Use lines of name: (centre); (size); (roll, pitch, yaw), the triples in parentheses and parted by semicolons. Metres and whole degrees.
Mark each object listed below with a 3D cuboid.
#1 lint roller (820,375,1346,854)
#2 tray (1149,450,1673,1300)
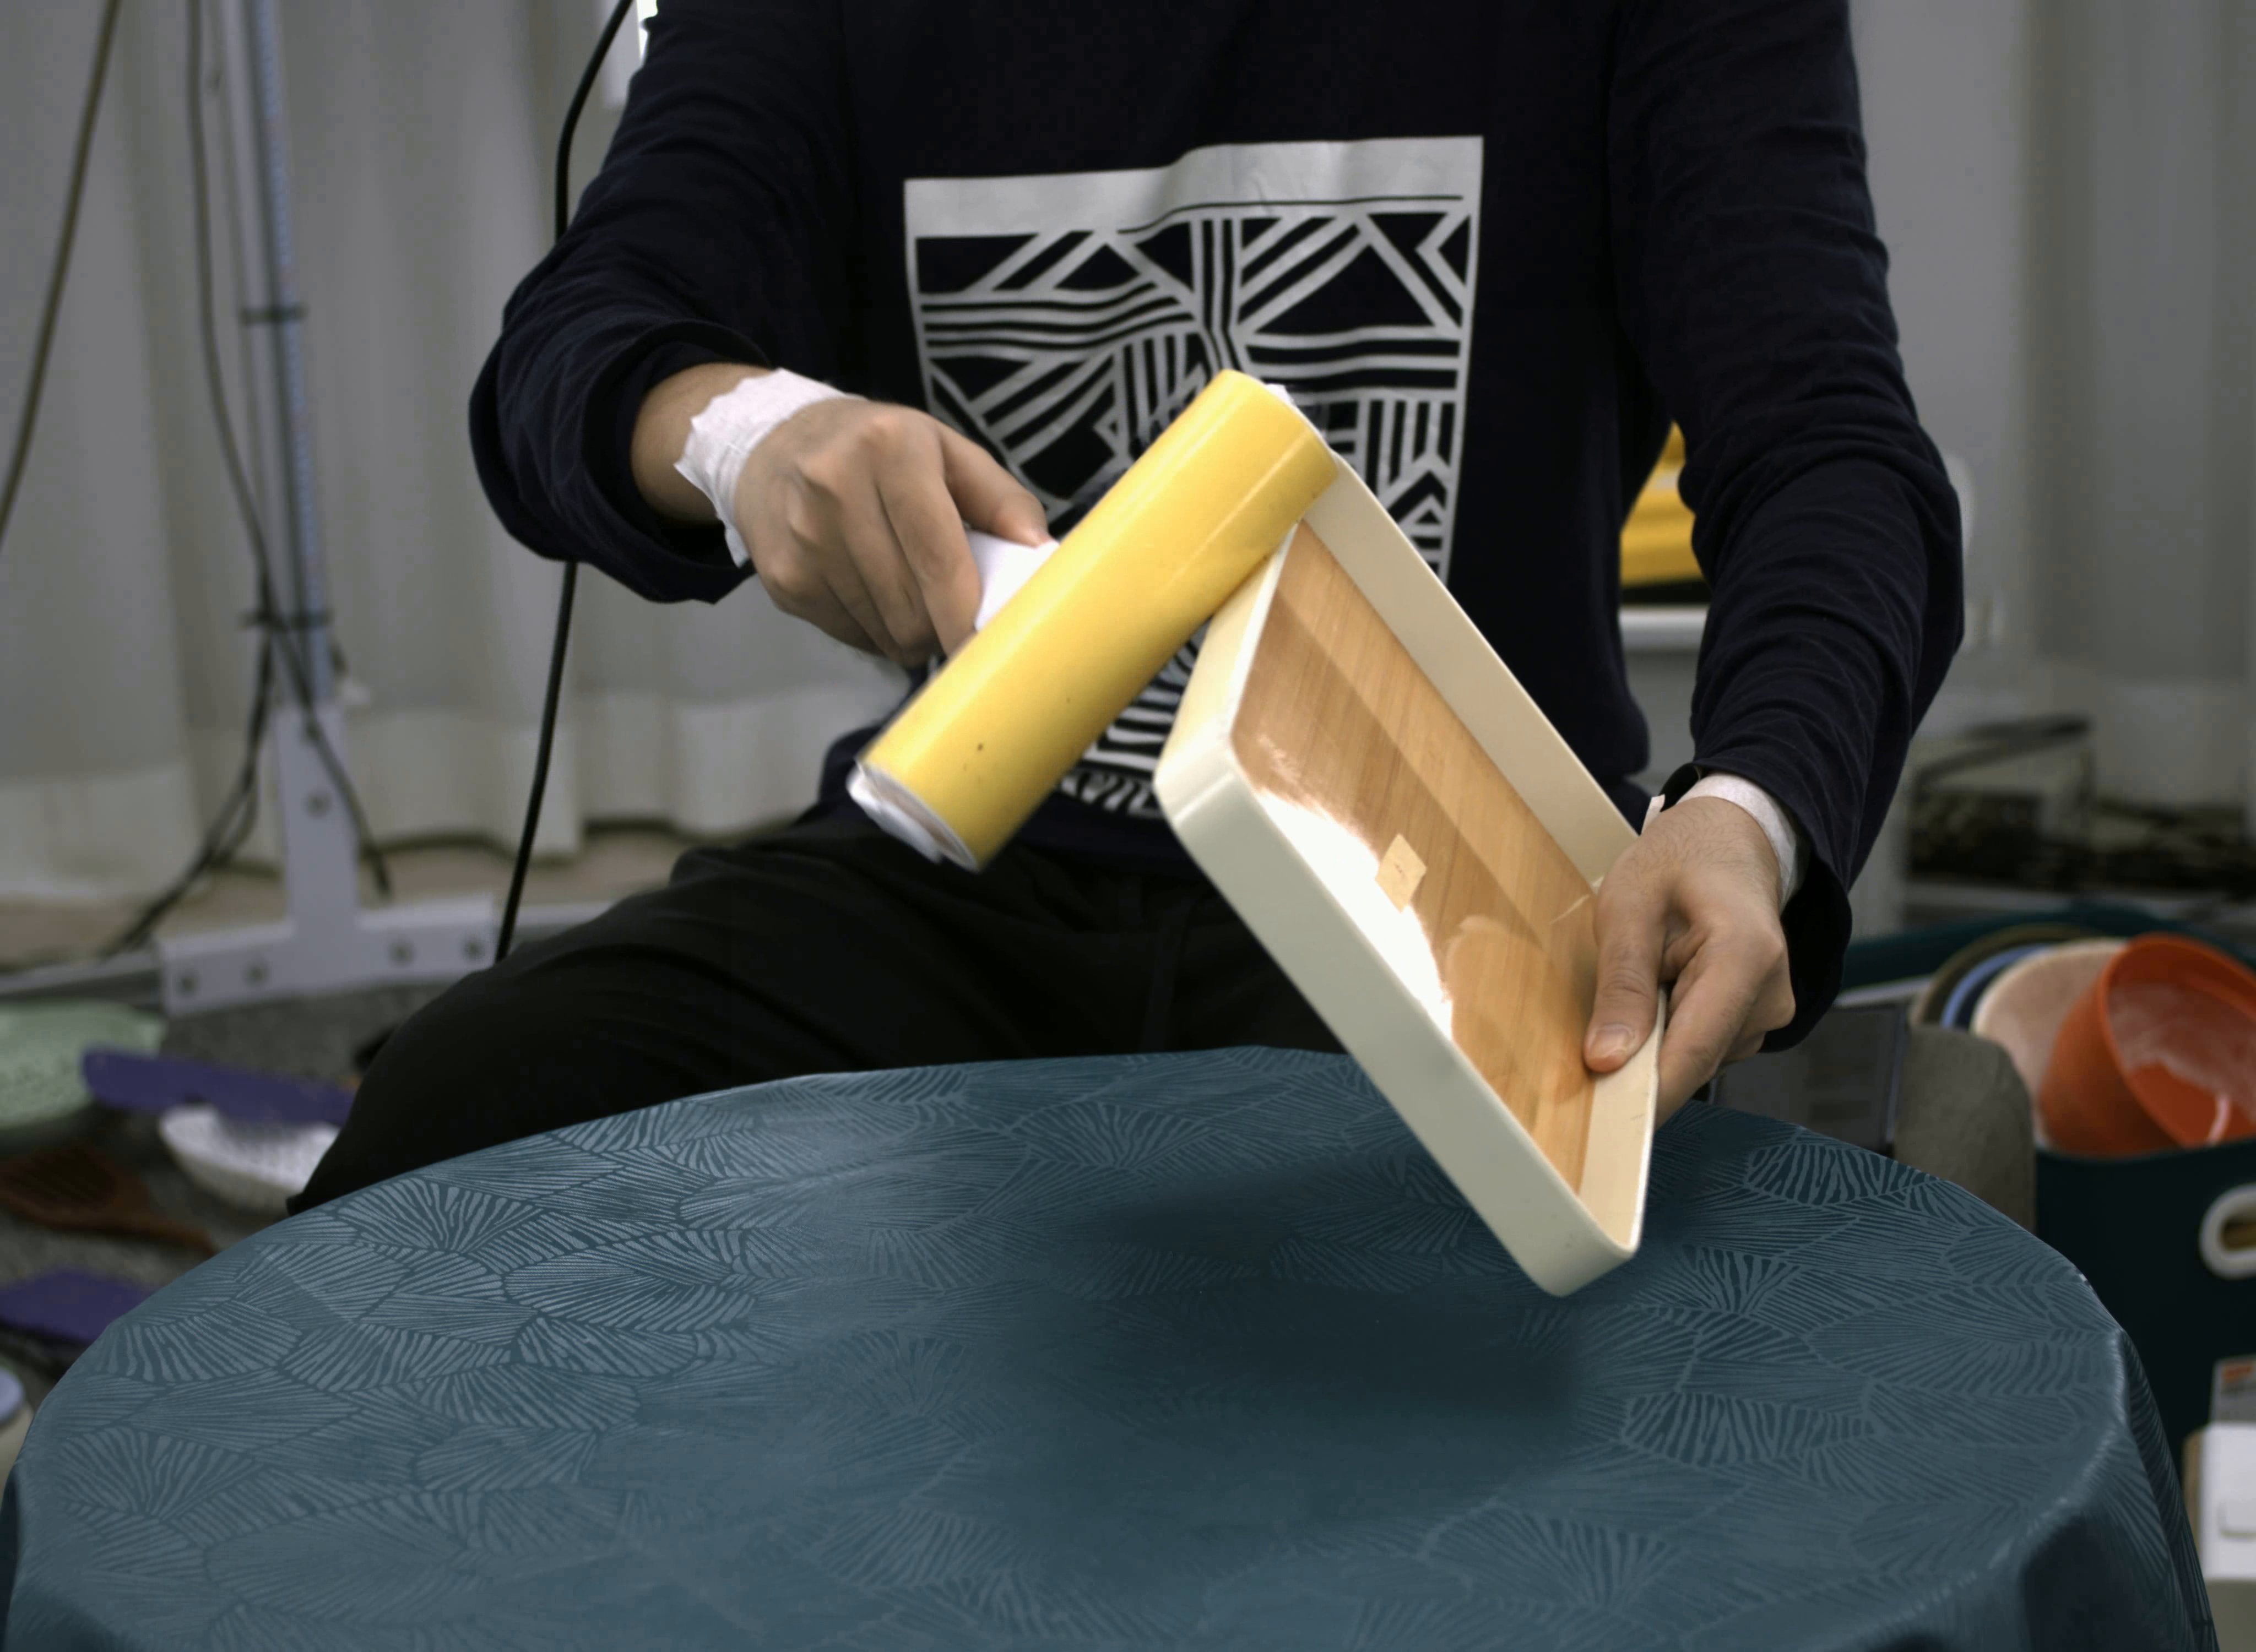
lint roller: (-0.047, -0.082, 1.659); (0.175, 0.051, 0.194); (-44, 36, -15)
tray: (0.089, 0.007, 1.615); (0.027, 0.191, 0.302); (-35, 11, 18)
